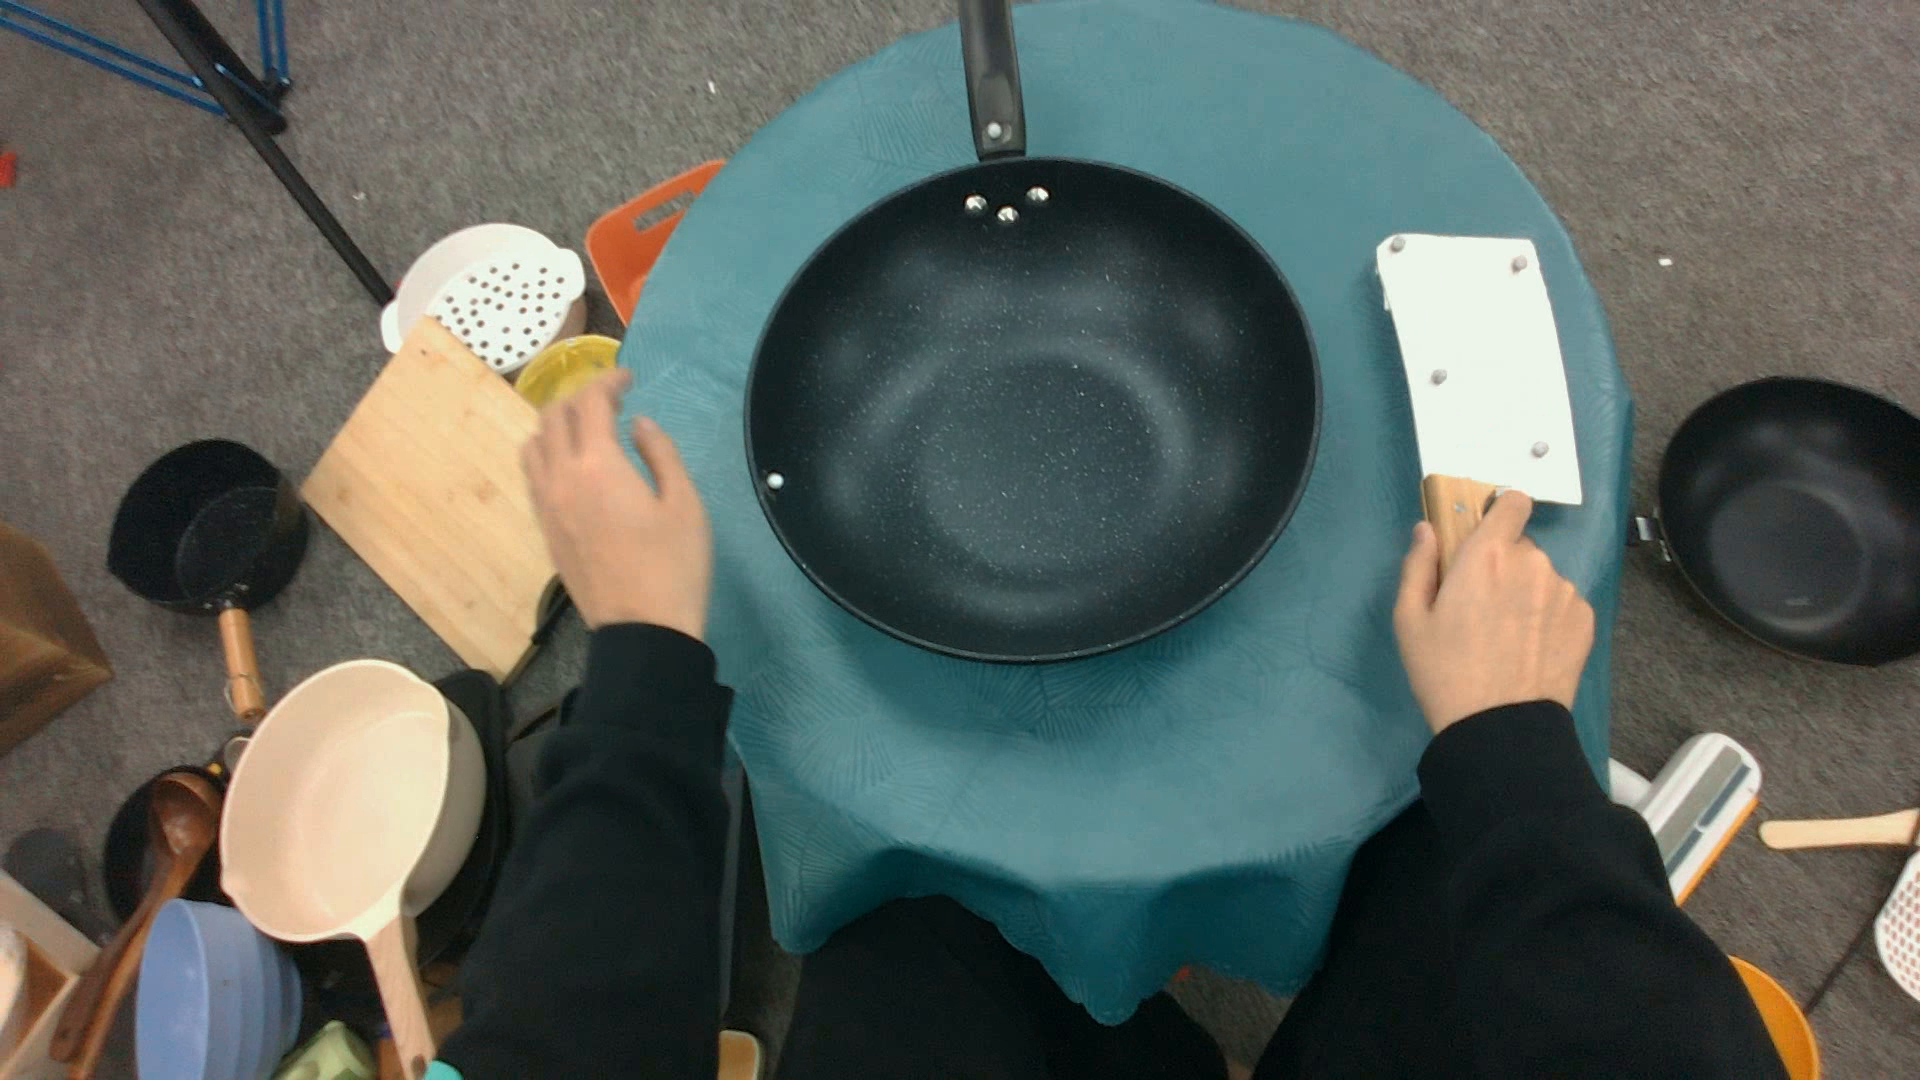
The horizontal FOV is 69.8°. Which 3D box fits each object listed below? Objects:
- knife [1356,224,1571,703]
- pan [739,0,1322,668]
[{"bbox_3d":[0.278,-0.058,0.758,0.114,0.021,0.317,7,61,0],"label":"knife"},{"bbox_3d":[0.031,-0.144,0.793,0.310,0.111,0.478,-6,65,2],"label":"pan"}]
